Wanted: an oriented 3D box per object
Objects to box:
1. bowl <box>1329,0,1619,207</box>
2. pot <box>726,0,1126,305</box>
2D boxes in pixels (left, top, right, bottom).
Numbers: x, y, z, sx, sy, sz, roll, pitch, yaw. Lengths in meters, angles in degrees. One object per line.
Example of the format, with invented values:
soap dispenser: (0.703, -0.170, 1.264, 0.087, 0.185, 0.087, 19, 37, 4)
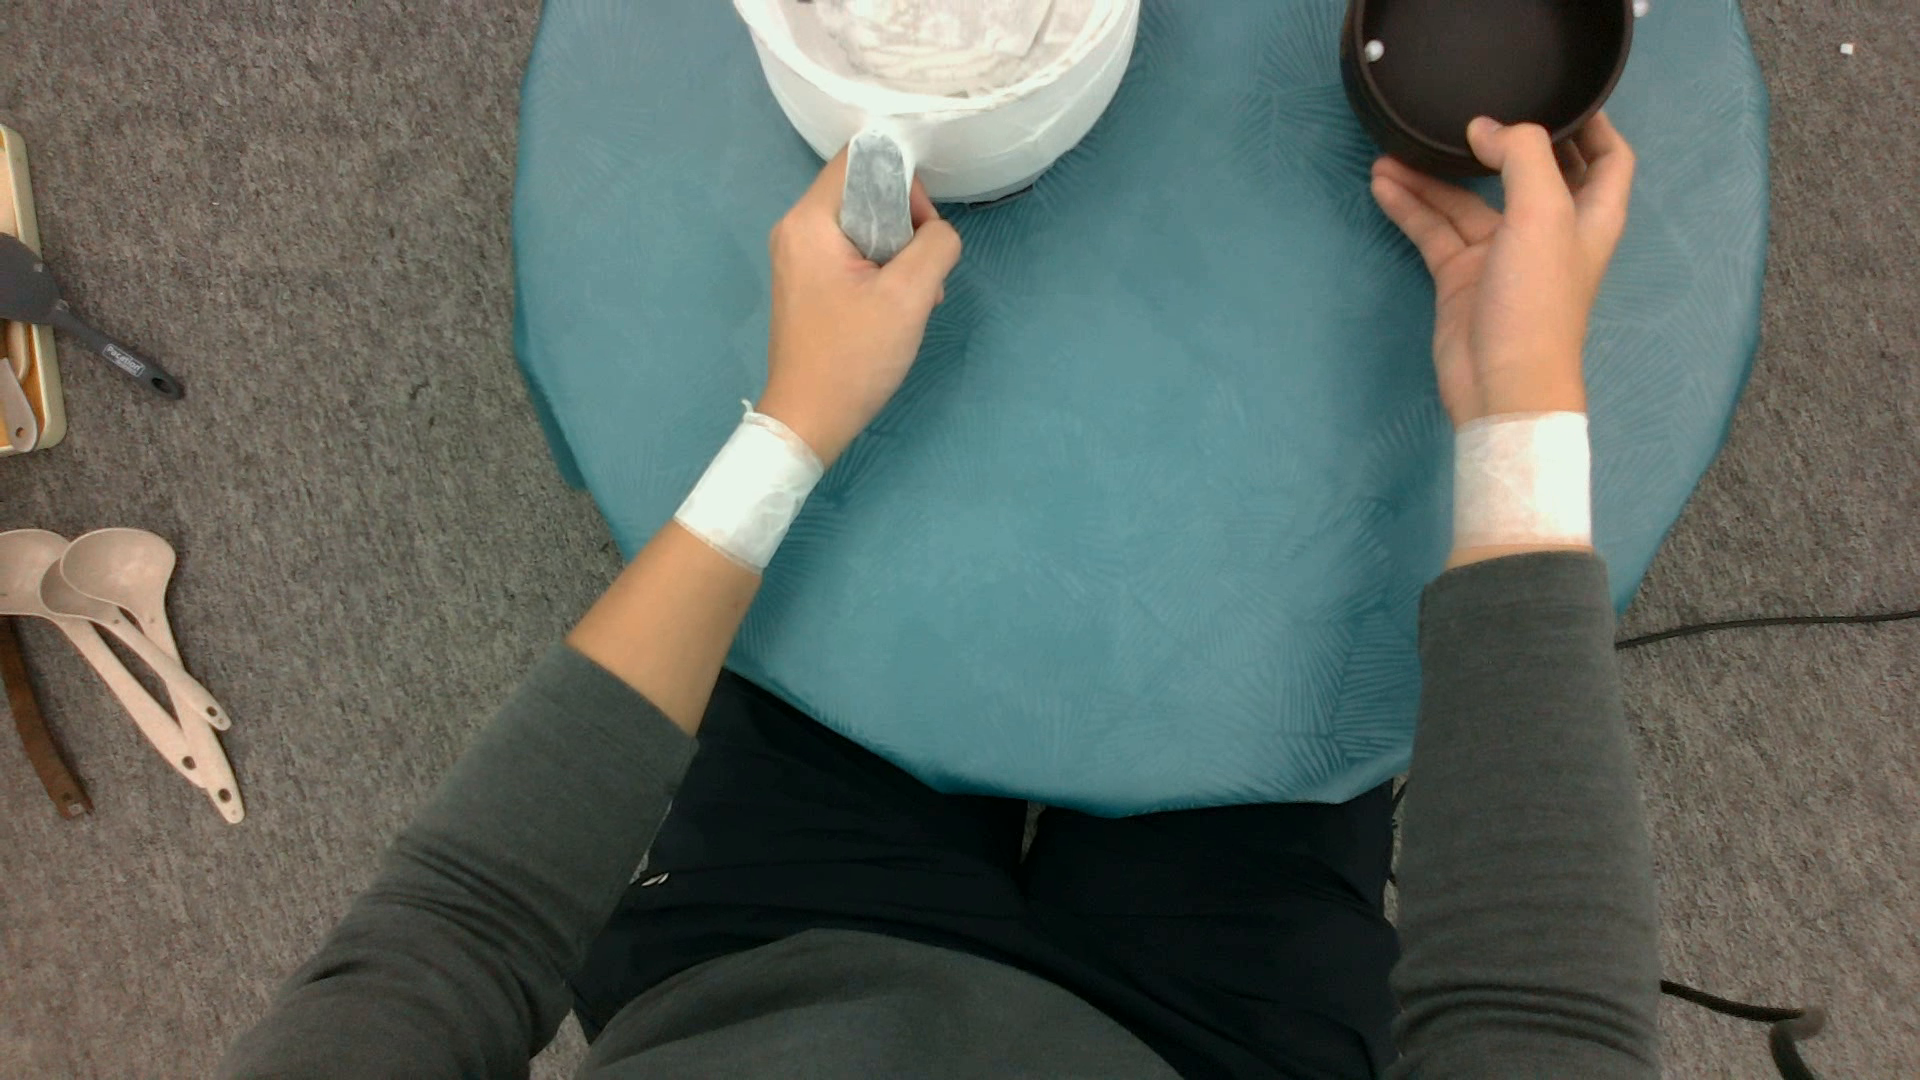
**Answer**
bowl: (0.226, -0.209, 0.623, 0.118, 0.070, 0.118, 1, 97, 8)
pot: (-0.019, -0.224, 0.600, 0.178, 0.136, 0.234, 11, 88, 2)
